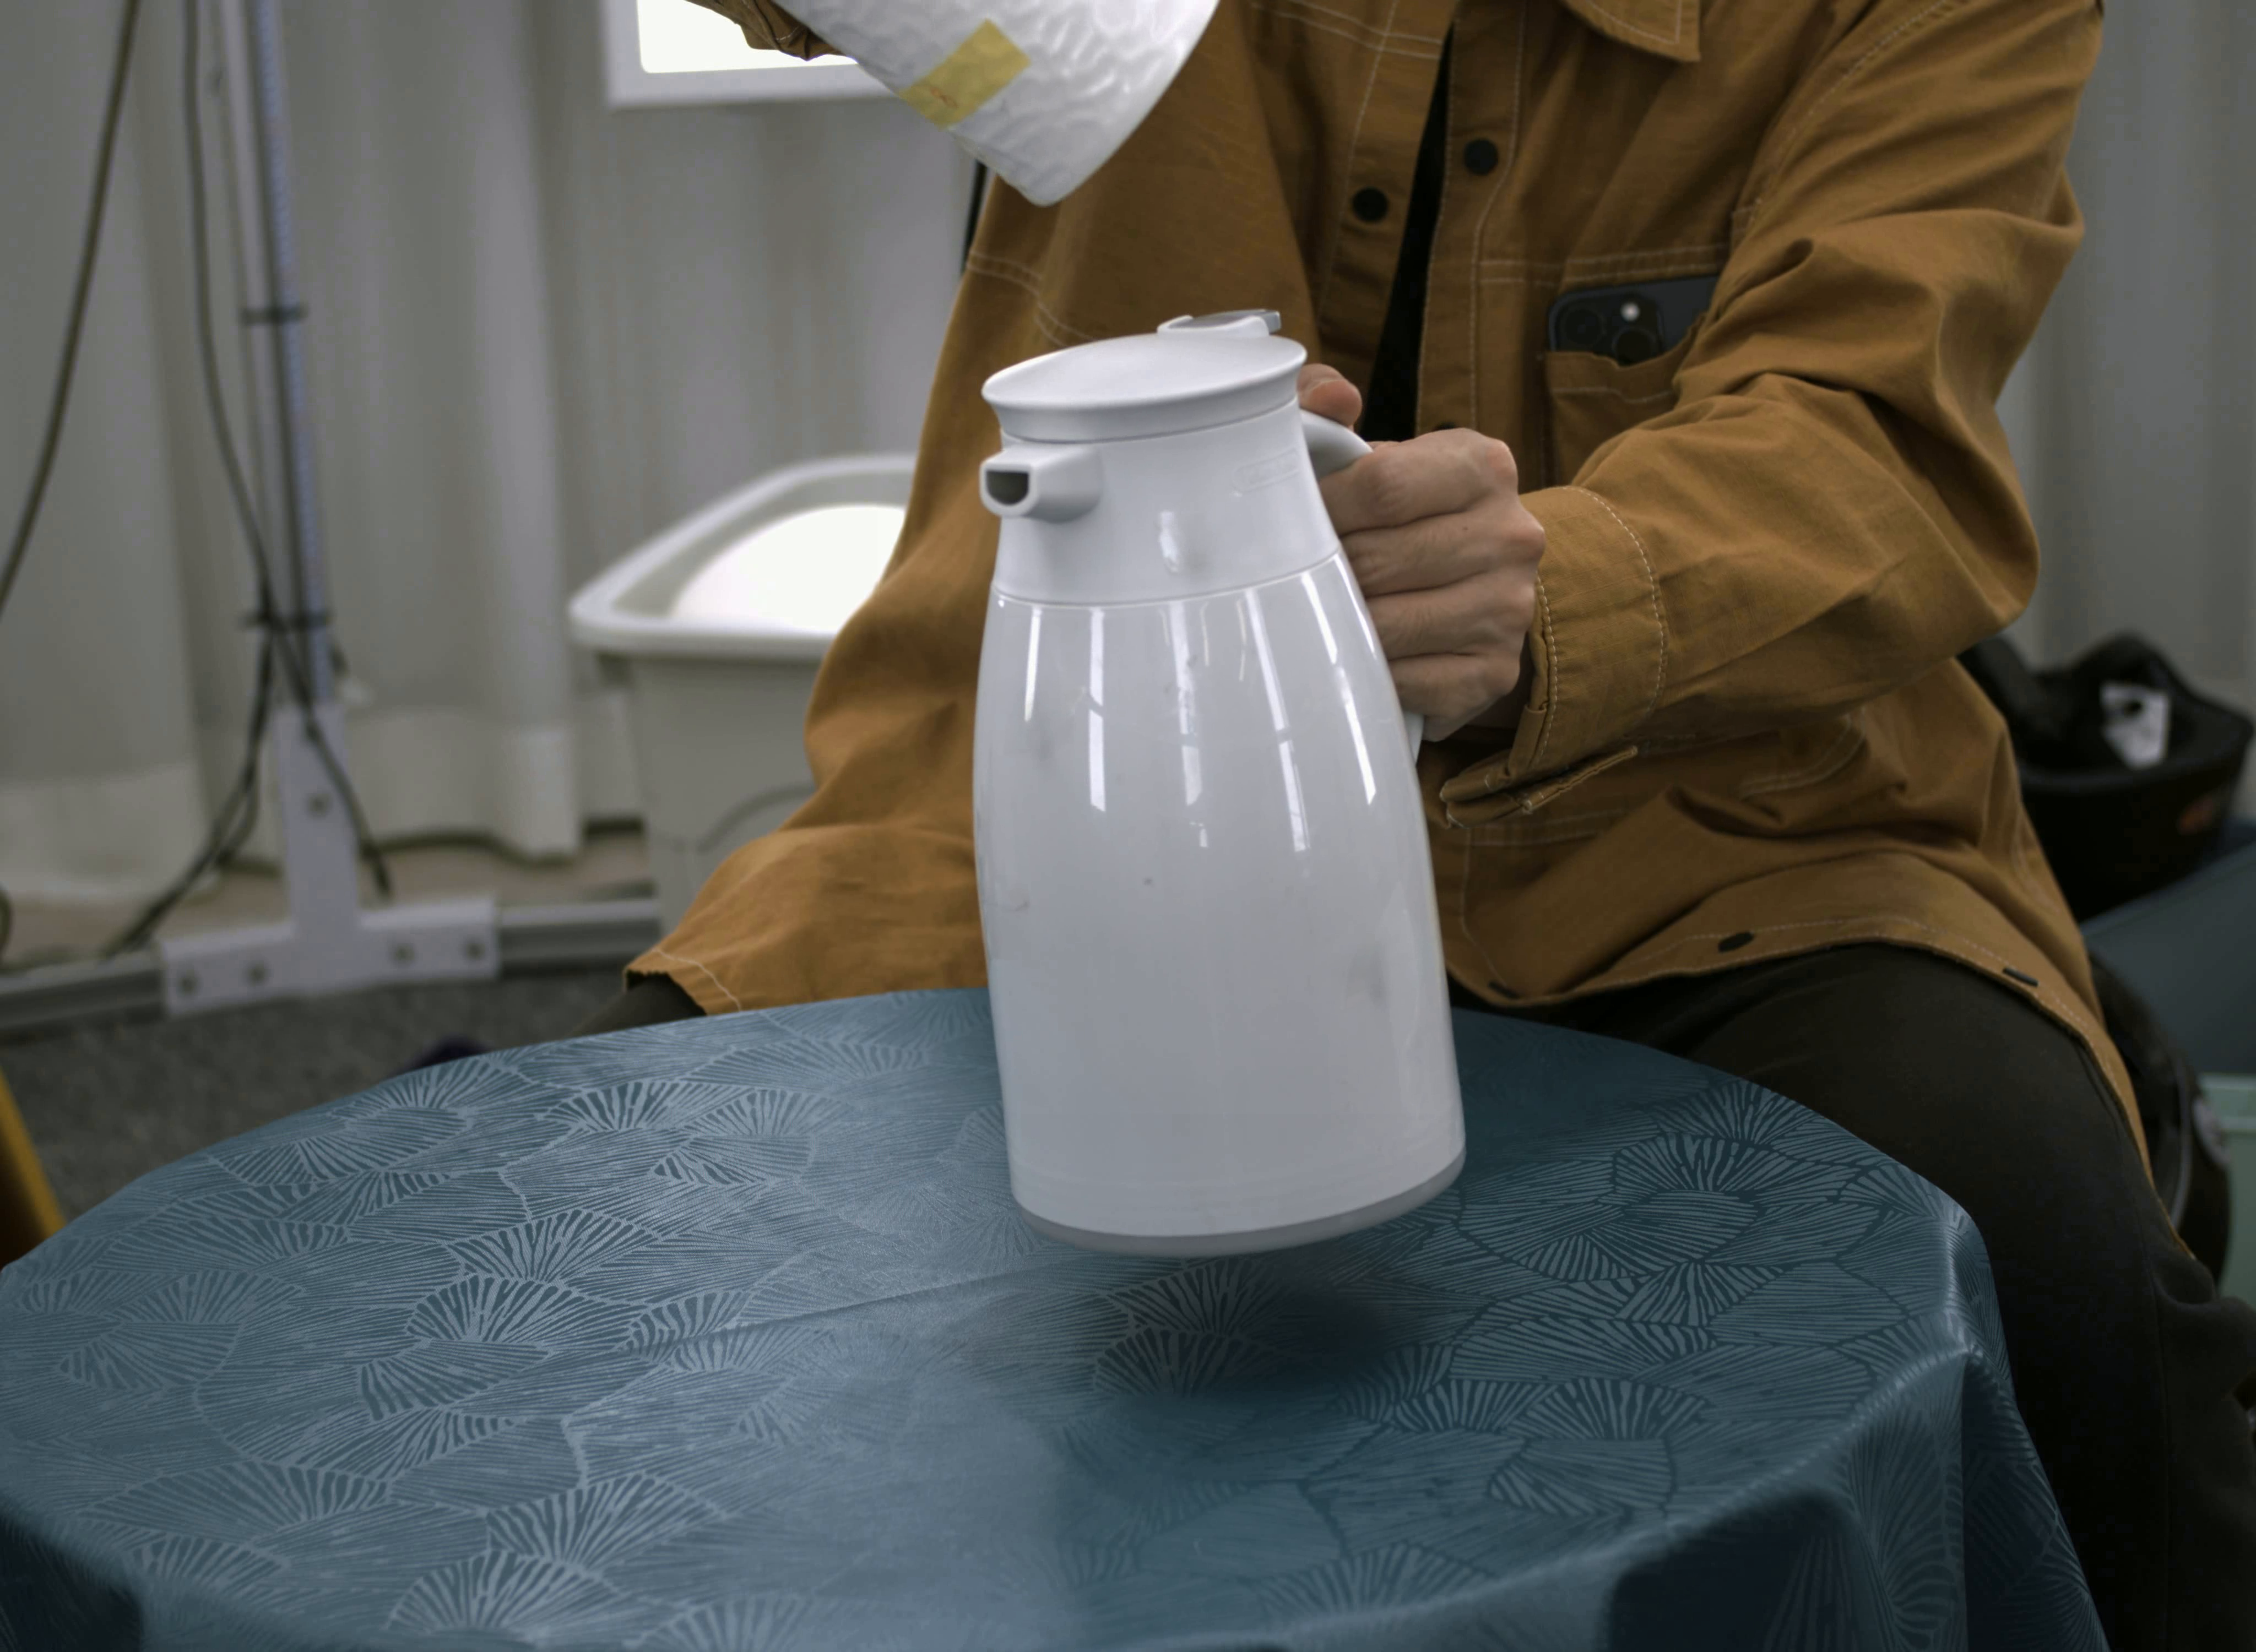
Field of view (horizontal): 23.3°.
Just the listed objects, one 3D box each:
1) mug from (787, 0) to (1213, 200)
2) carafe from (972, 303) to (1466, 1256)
[{"bbox_3d":[-0.036,-0.244,1.504,0.101,0.084,0.120,37,32,-16],"label":"mug"},{"bbox_3d":[0.029,-0.022,1.567,0.133,0.248,0.167,3,16,39],"label":"carafe"}]
